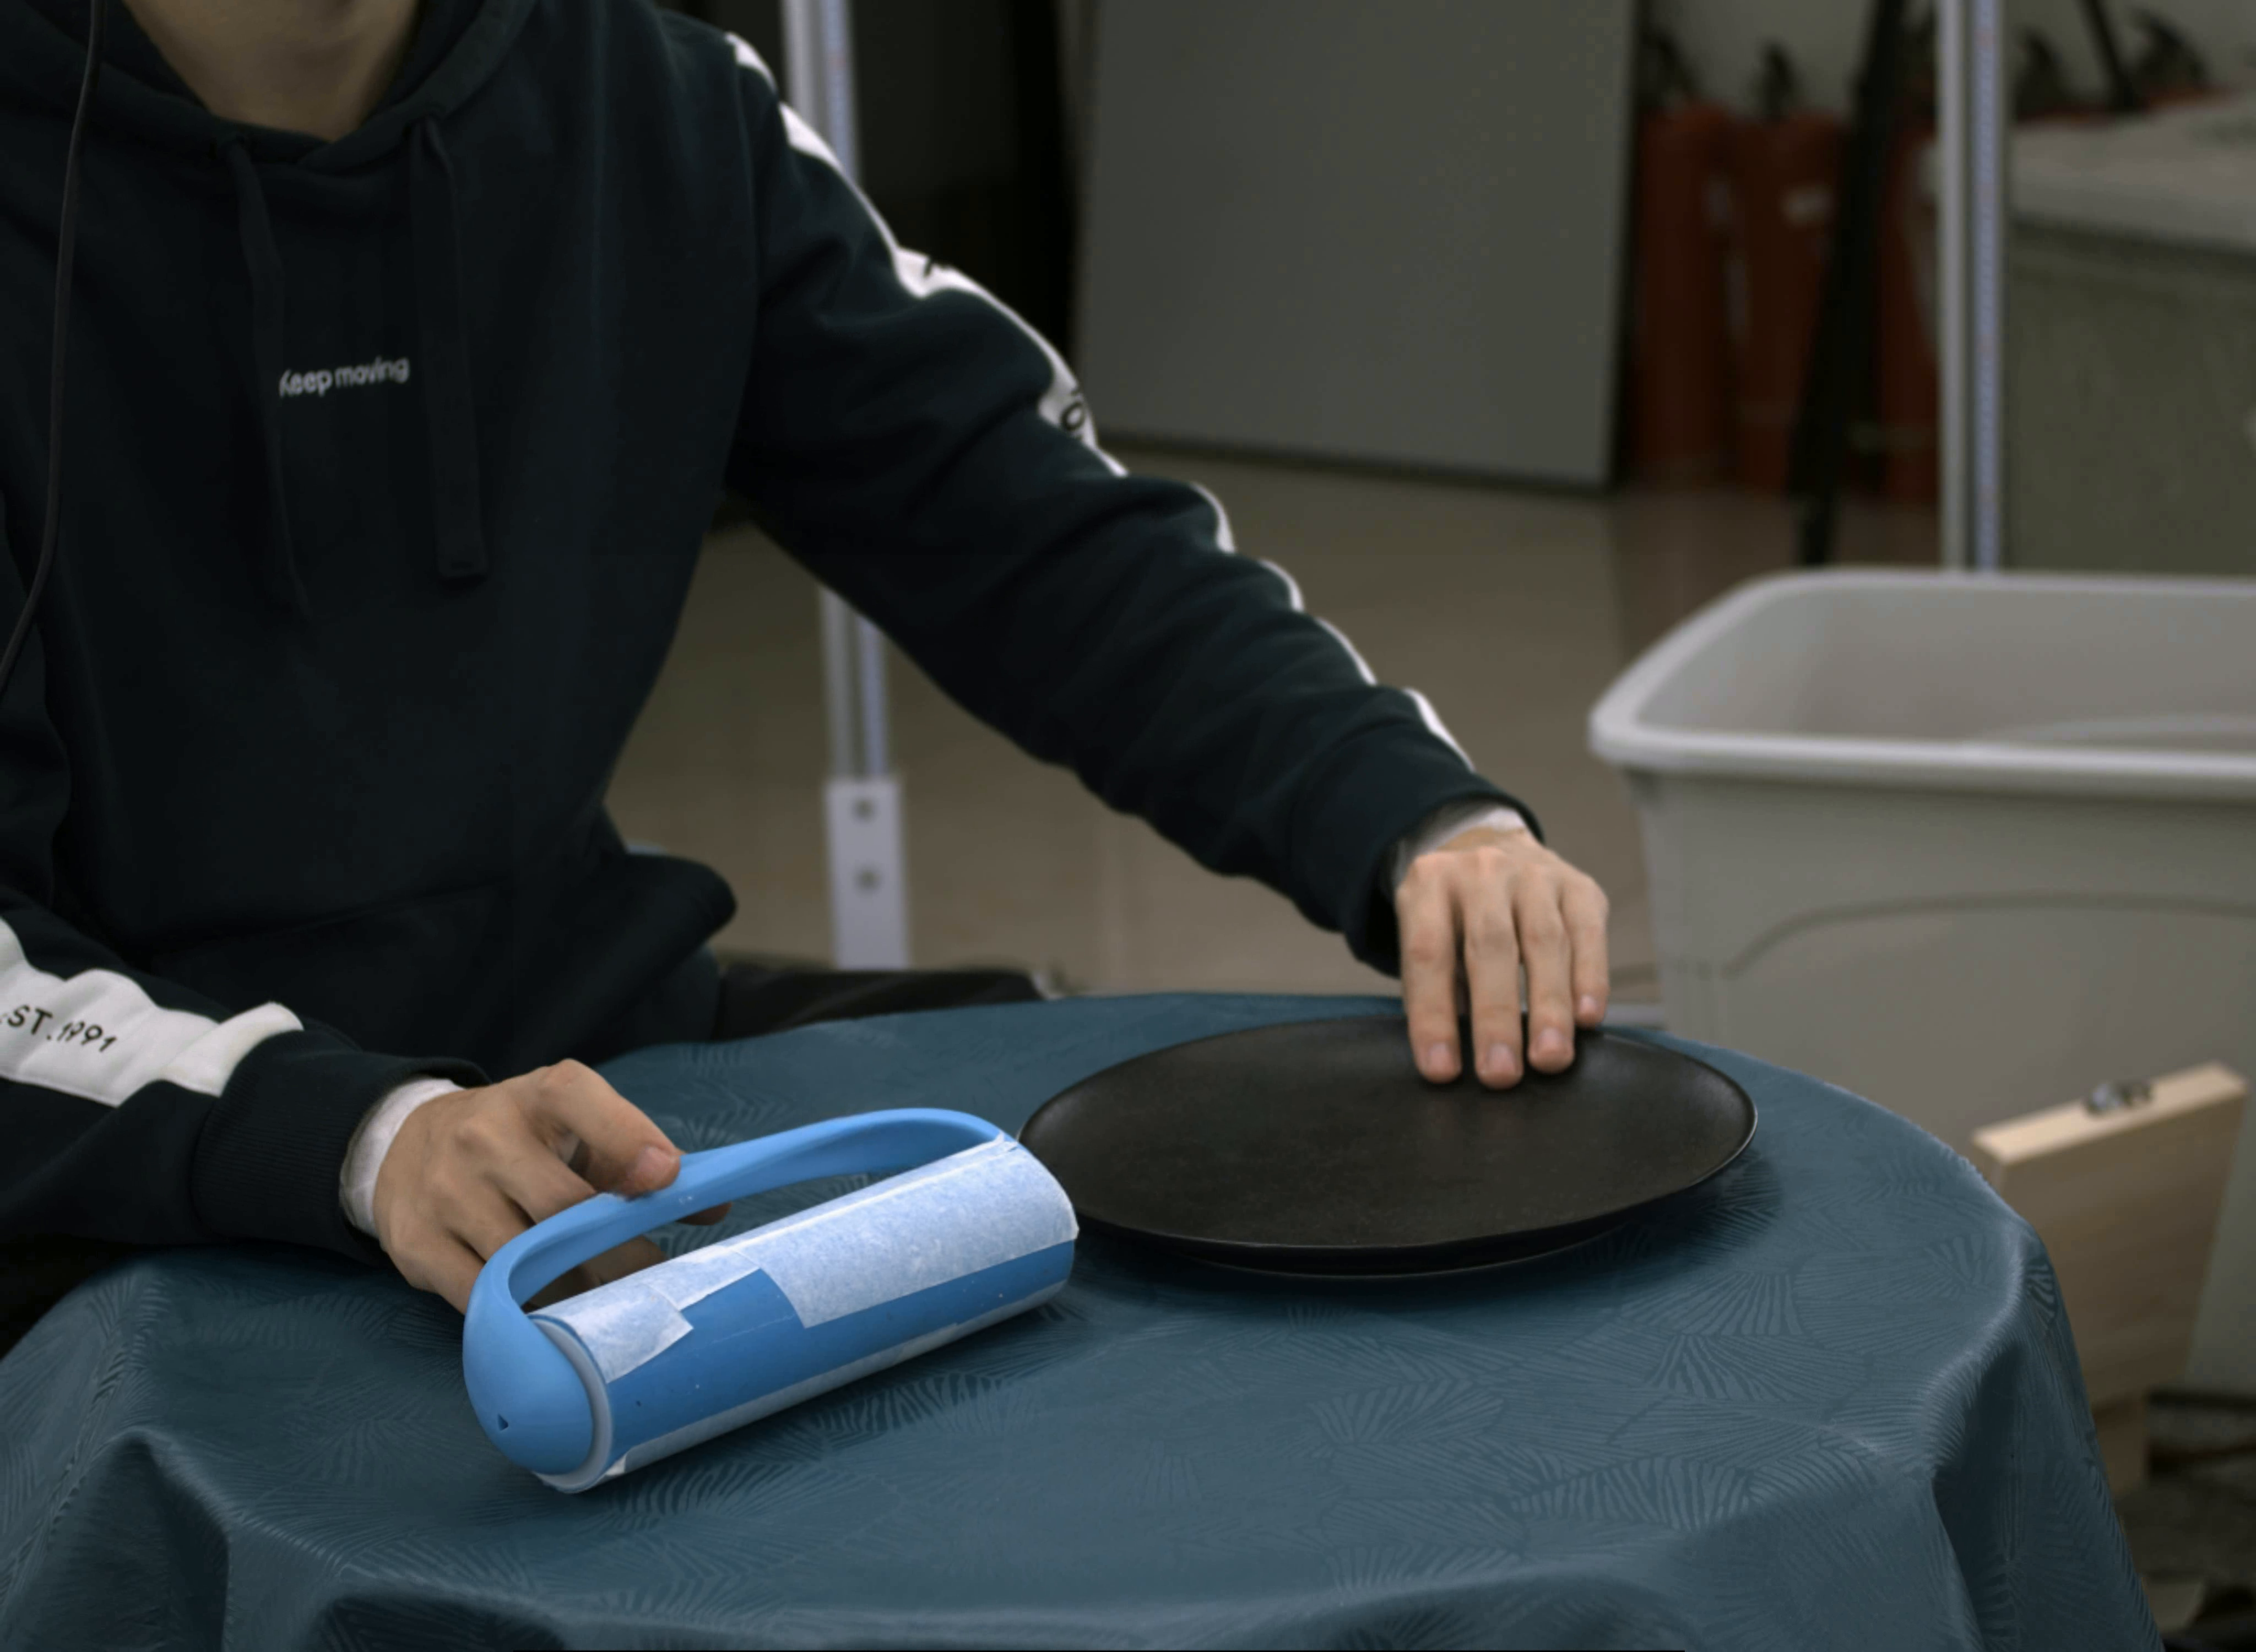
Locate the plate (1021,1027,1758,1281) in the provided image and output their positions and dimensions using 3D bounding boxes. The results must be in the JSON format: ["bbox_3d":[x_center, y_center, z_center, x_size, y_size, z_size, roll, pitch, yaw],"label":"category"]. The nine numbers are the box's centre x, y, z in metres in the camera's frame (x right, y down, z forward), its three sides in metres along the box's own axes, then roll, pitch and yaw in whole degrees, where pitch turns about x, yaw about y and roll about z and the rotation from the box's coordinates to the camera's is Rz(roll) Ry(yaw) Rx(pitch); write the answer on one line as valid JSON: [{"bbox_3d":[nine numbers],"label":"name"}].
[{"bbox_3d":[0.085,0.108,1.752,0.241,0.024,0.245,-4,14,0],"label":"plate"}]

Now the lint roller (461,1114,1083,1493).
[{"bbox_3d":[-0.141,0.136,1.635,0.182,0.068,0.224,7,18,40],"label":"lint roller"}]
